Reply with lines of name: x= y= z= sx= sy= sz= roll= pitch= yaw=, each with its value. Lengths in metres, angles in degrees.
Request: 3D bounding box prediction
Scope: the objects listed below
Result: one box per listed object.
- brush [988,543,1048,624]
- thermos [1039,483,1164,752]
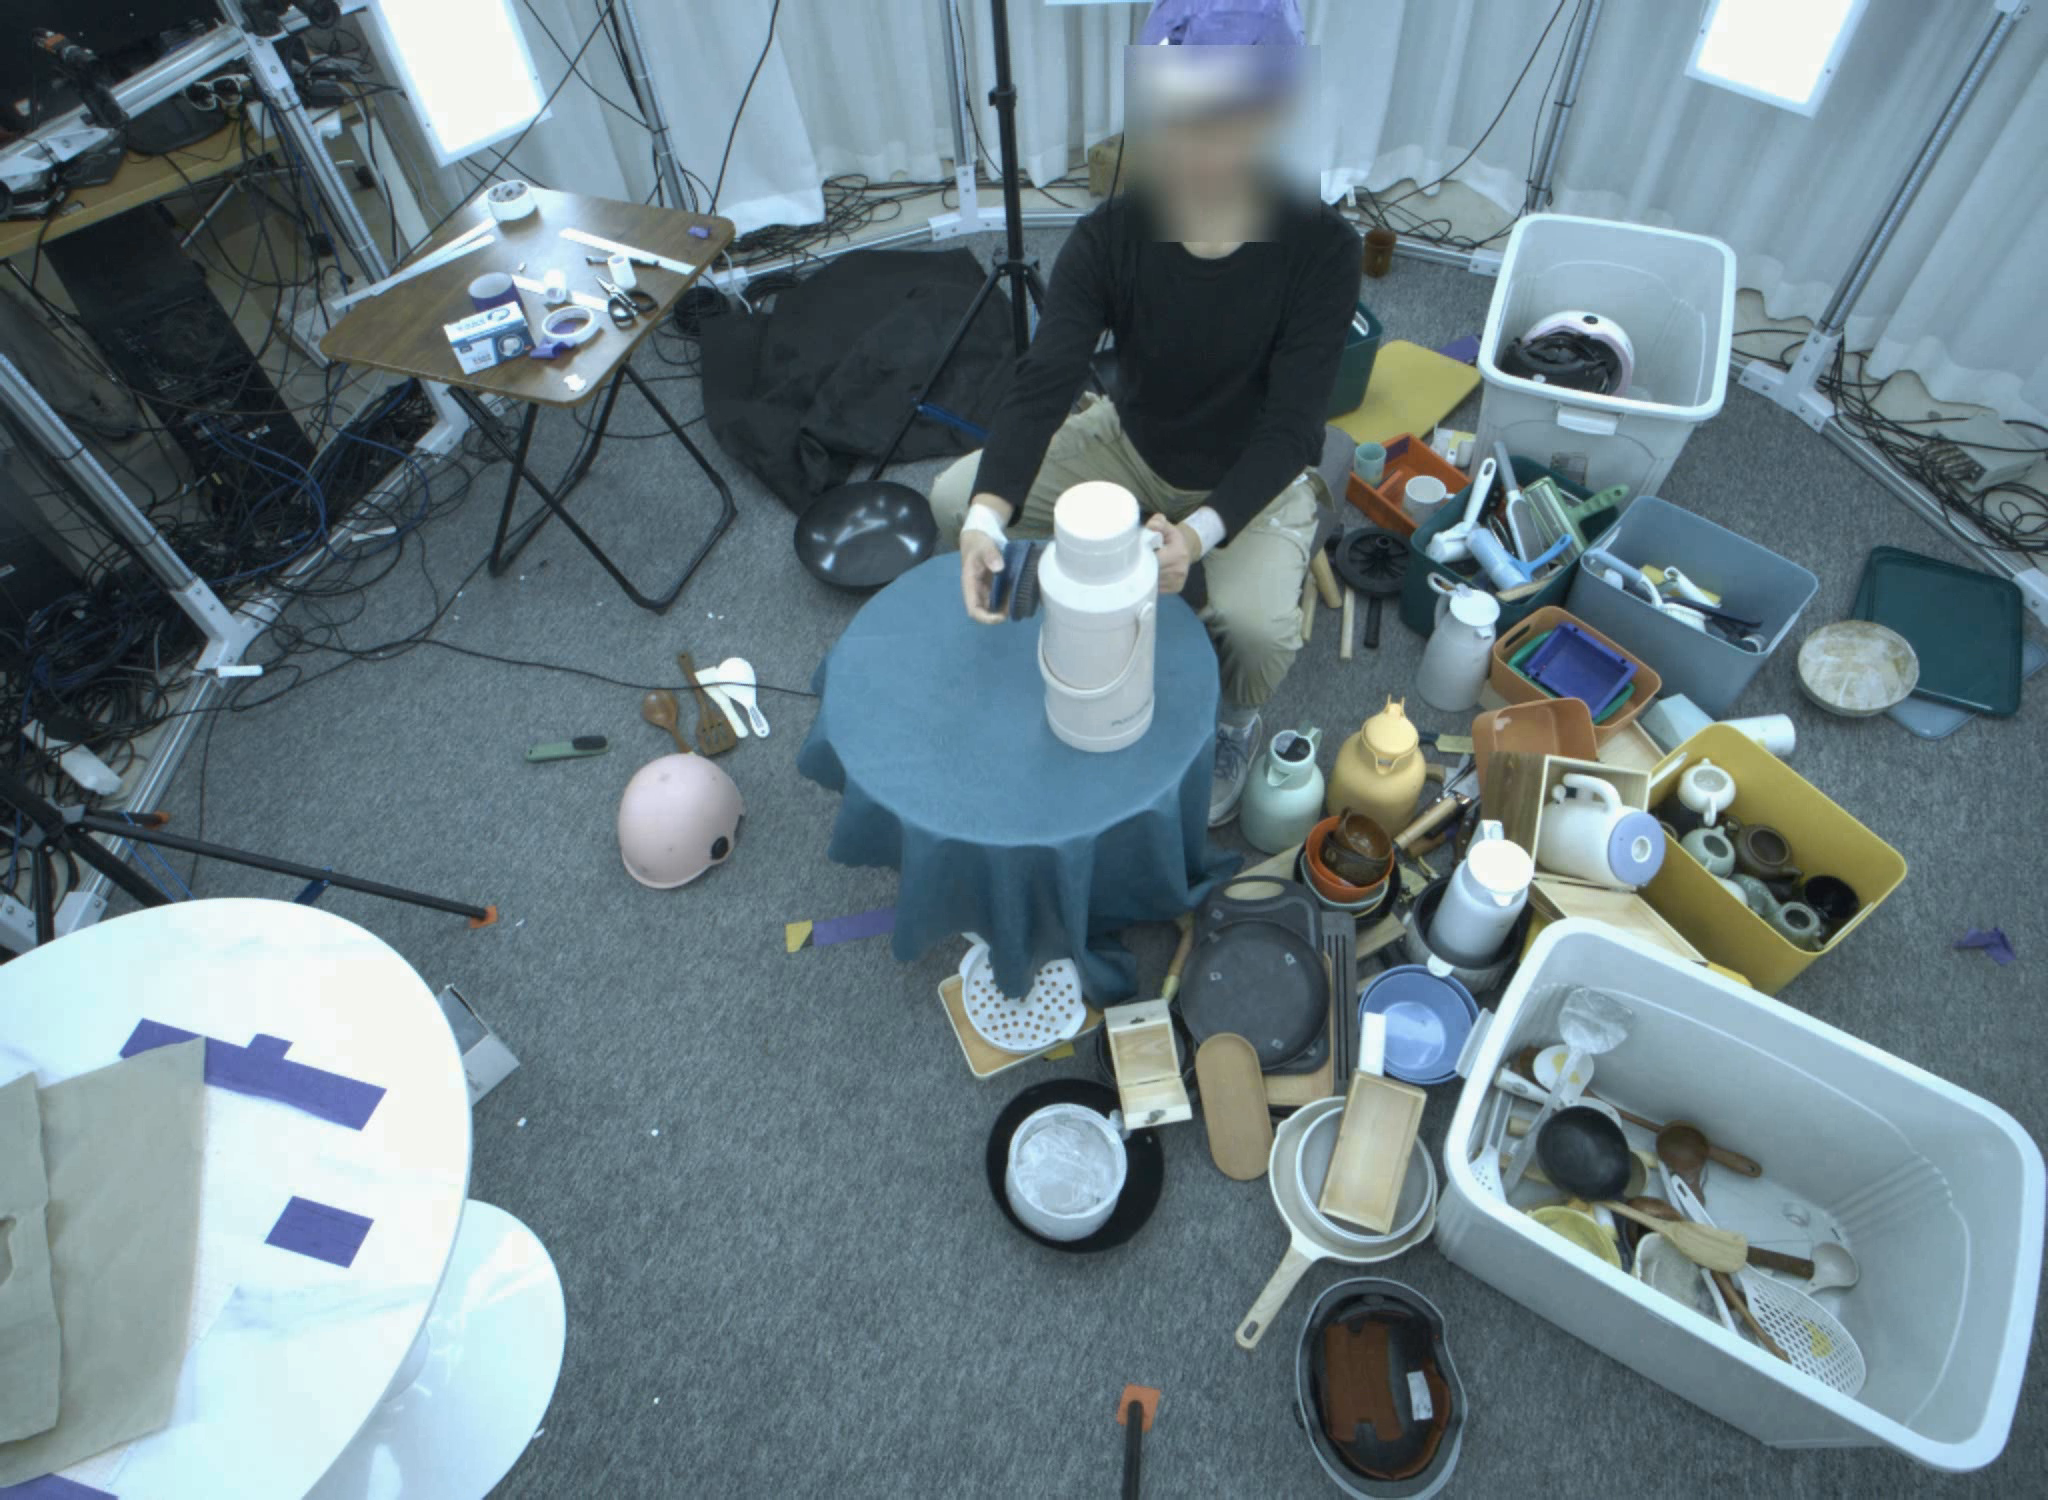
brush: x=-0.005 y=-0.220 z=1.620 sx=0.060 sy=0.069 sz=0.121 roll=8 pitch=61 yaw=14
thermos: x=0.113 y=-0.184 z=1.669 sx=0.172 sy=0.411 sz=0.208 roll=35 pitch=64 yaw=27
